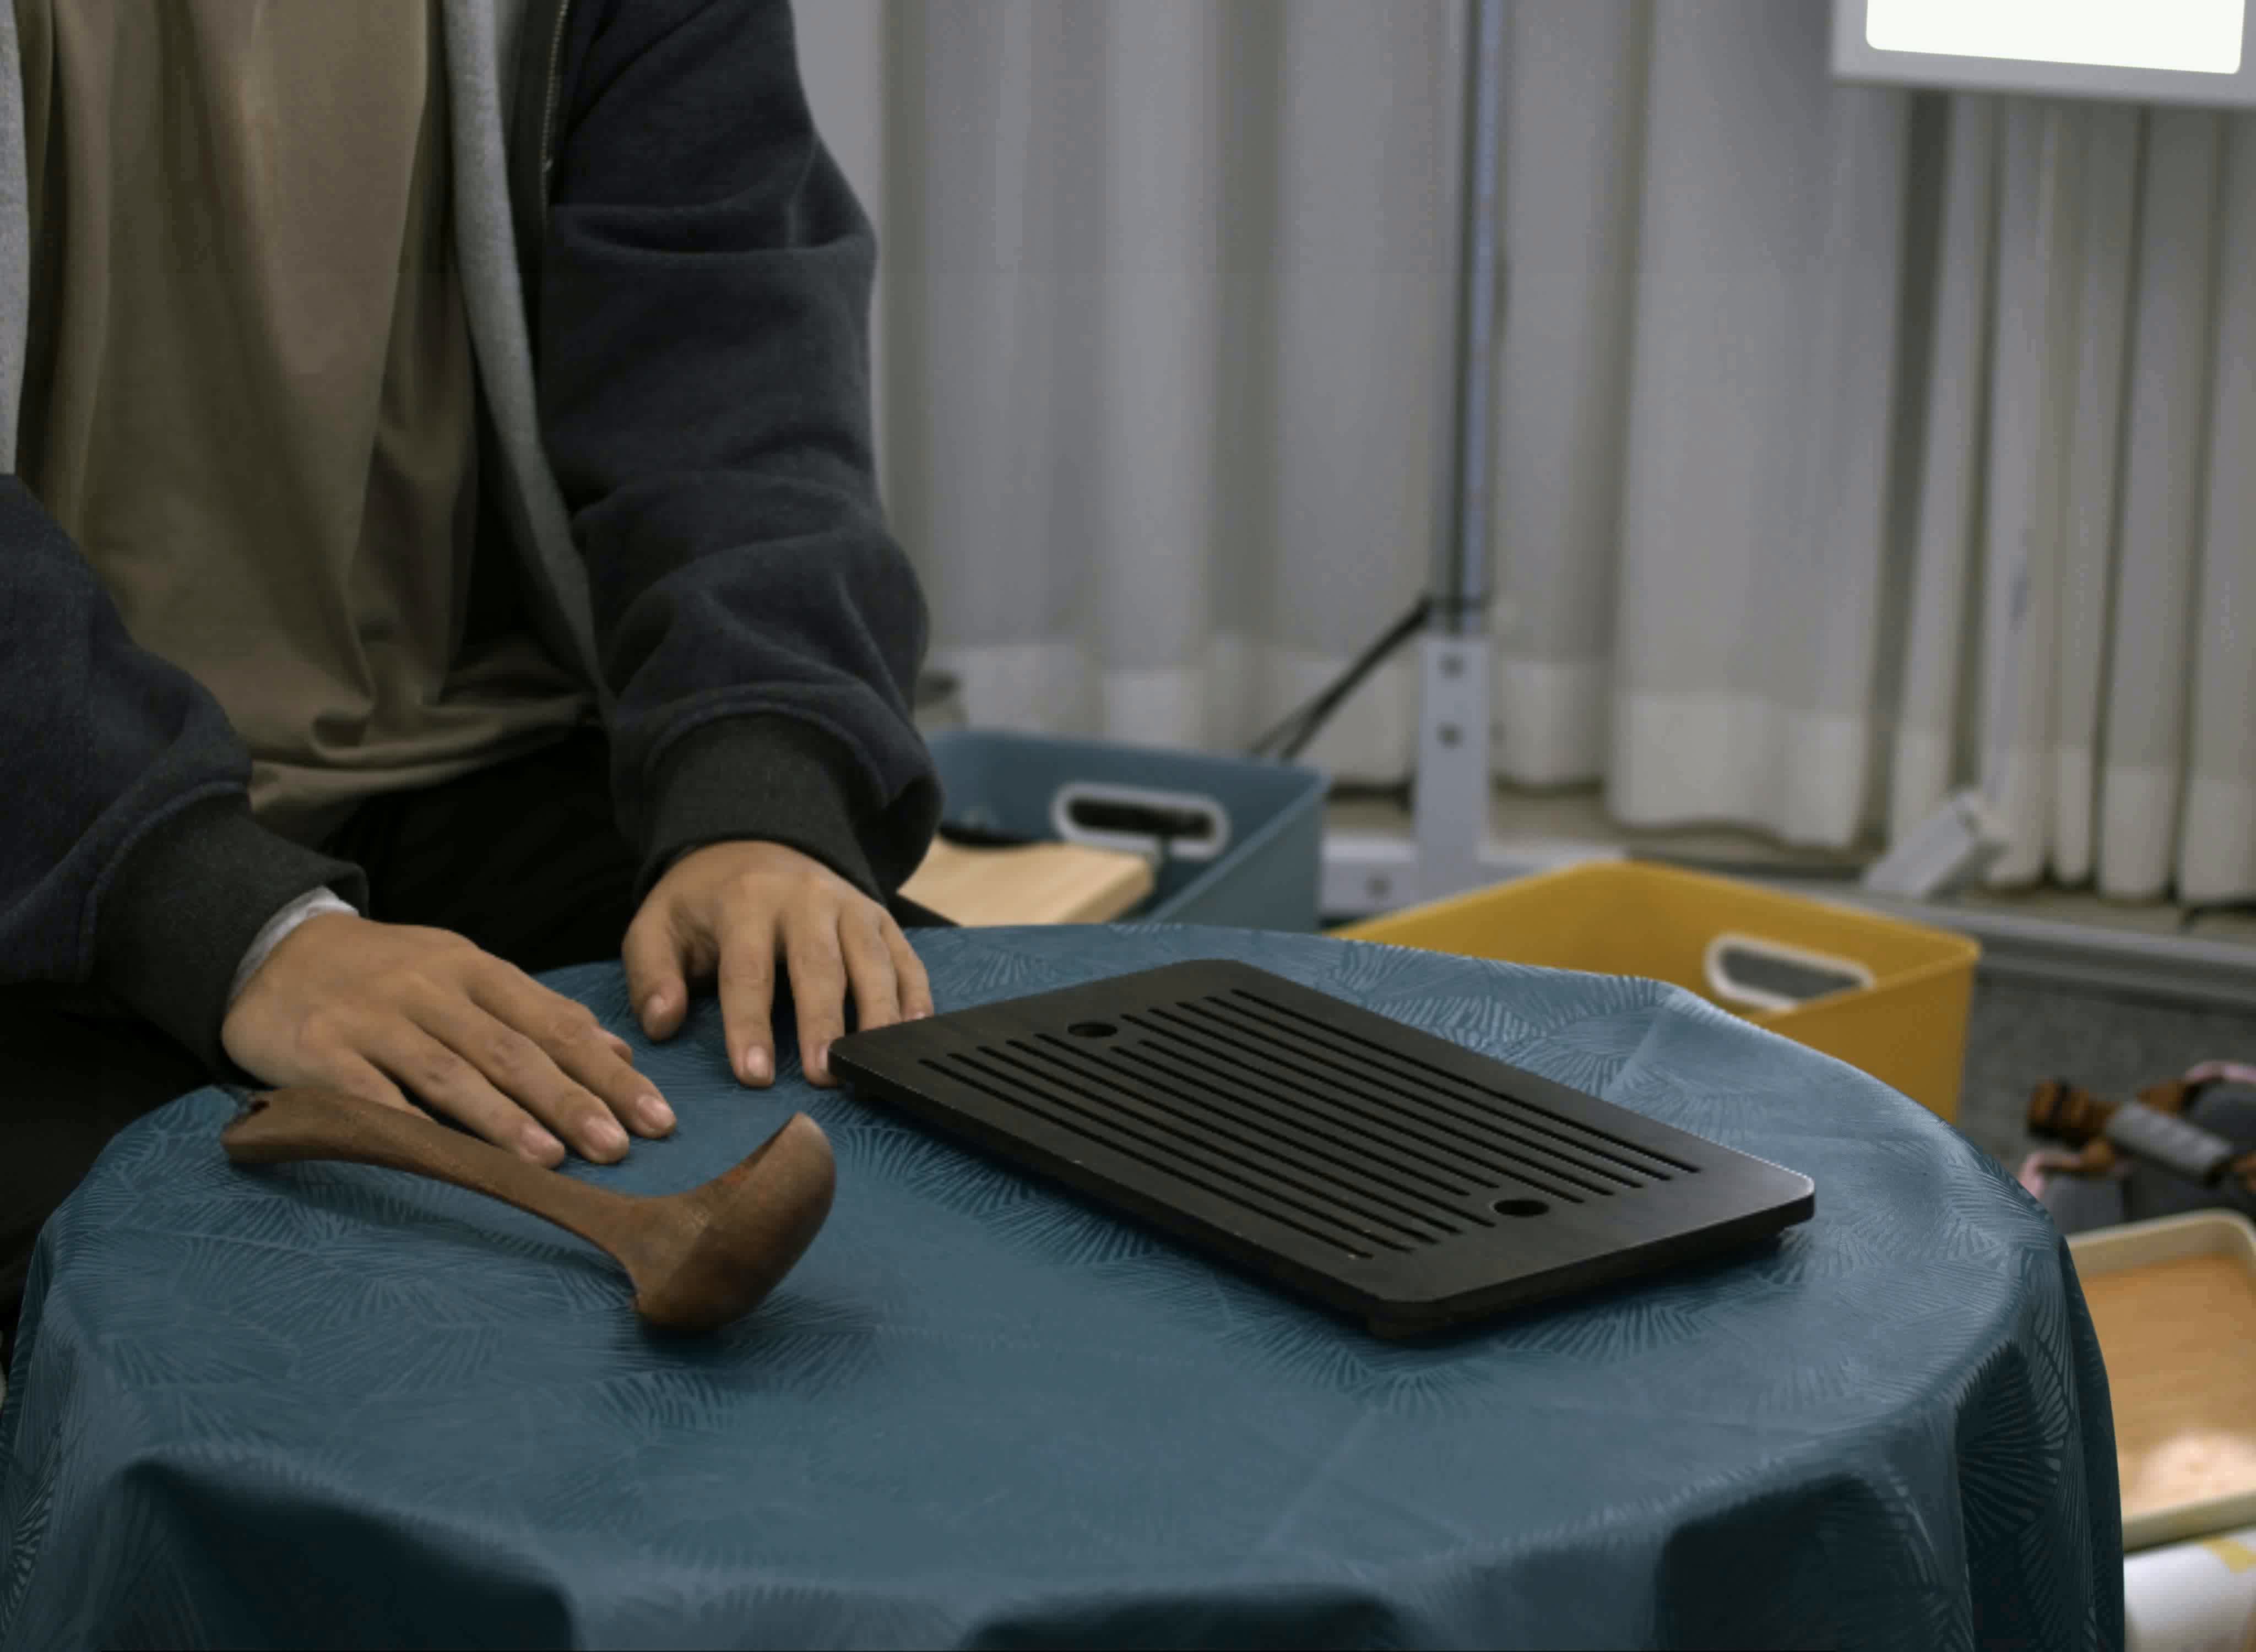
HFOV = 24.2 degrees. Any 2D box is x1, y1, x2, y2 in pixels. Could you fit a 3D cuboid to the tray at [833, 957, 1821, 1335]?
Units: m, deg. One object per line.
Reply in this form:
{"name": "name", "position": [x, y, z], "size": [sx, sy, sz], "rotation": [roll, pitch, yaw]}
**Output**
{"name": "tray", "position": [0.056, 0.096, 1.649], "size": [0.171, 0.019, 0.302], "rotation": [-11, 19, -35]}

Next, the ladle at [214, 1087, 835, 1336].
{"name": "ladle", "position": [-0.189, 0.097, 1.556], "size": [0.257, 0.066, 0.076], "rotation": [13, 47, 37]}
